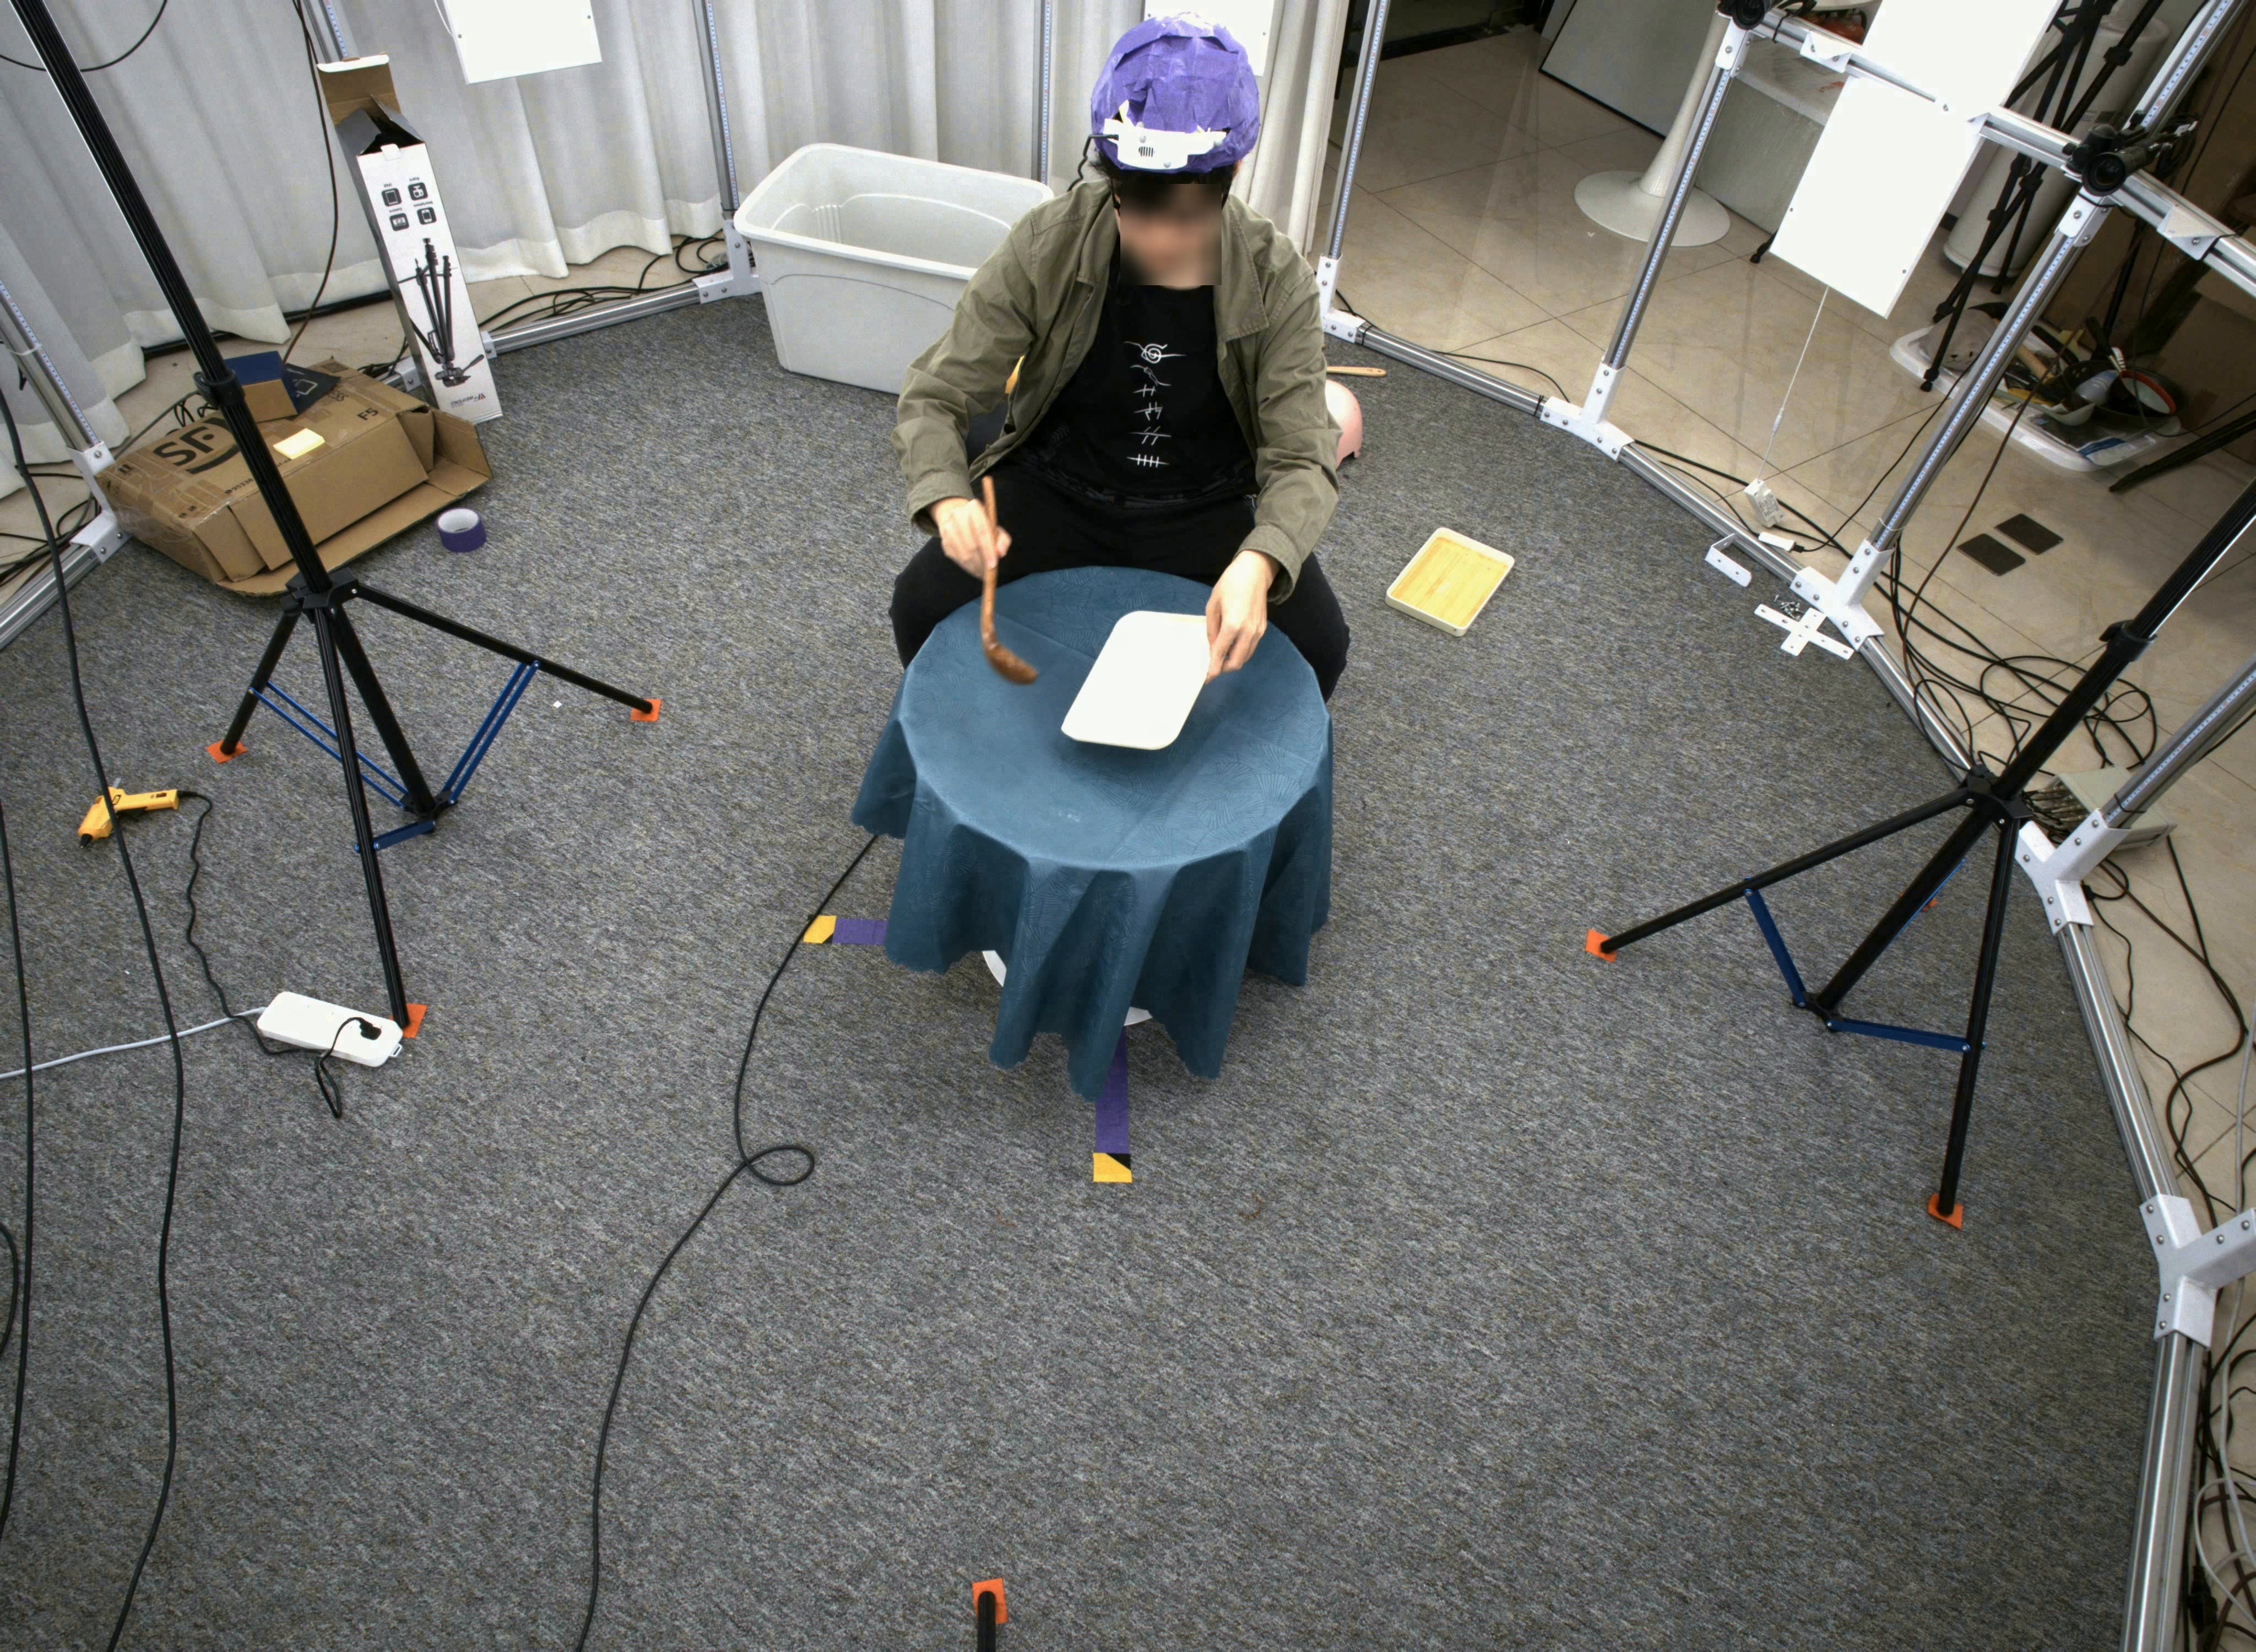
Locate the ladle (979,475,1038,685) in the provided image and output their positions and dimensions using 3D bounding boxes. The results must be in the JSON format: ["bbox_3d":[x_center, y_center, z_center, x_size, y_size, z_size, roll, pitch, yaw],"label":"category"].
[{"bbox_3d":[-0.154,-0.321,1.677,0.076,0.081,0.275,1,84,-8],"label":"ladle"}]

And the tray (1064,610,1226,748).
[{"bbox_3d":[0.026,-0.201,1.739,0.172,0.017,0.244,8,55,26],"label":"tray"}]
